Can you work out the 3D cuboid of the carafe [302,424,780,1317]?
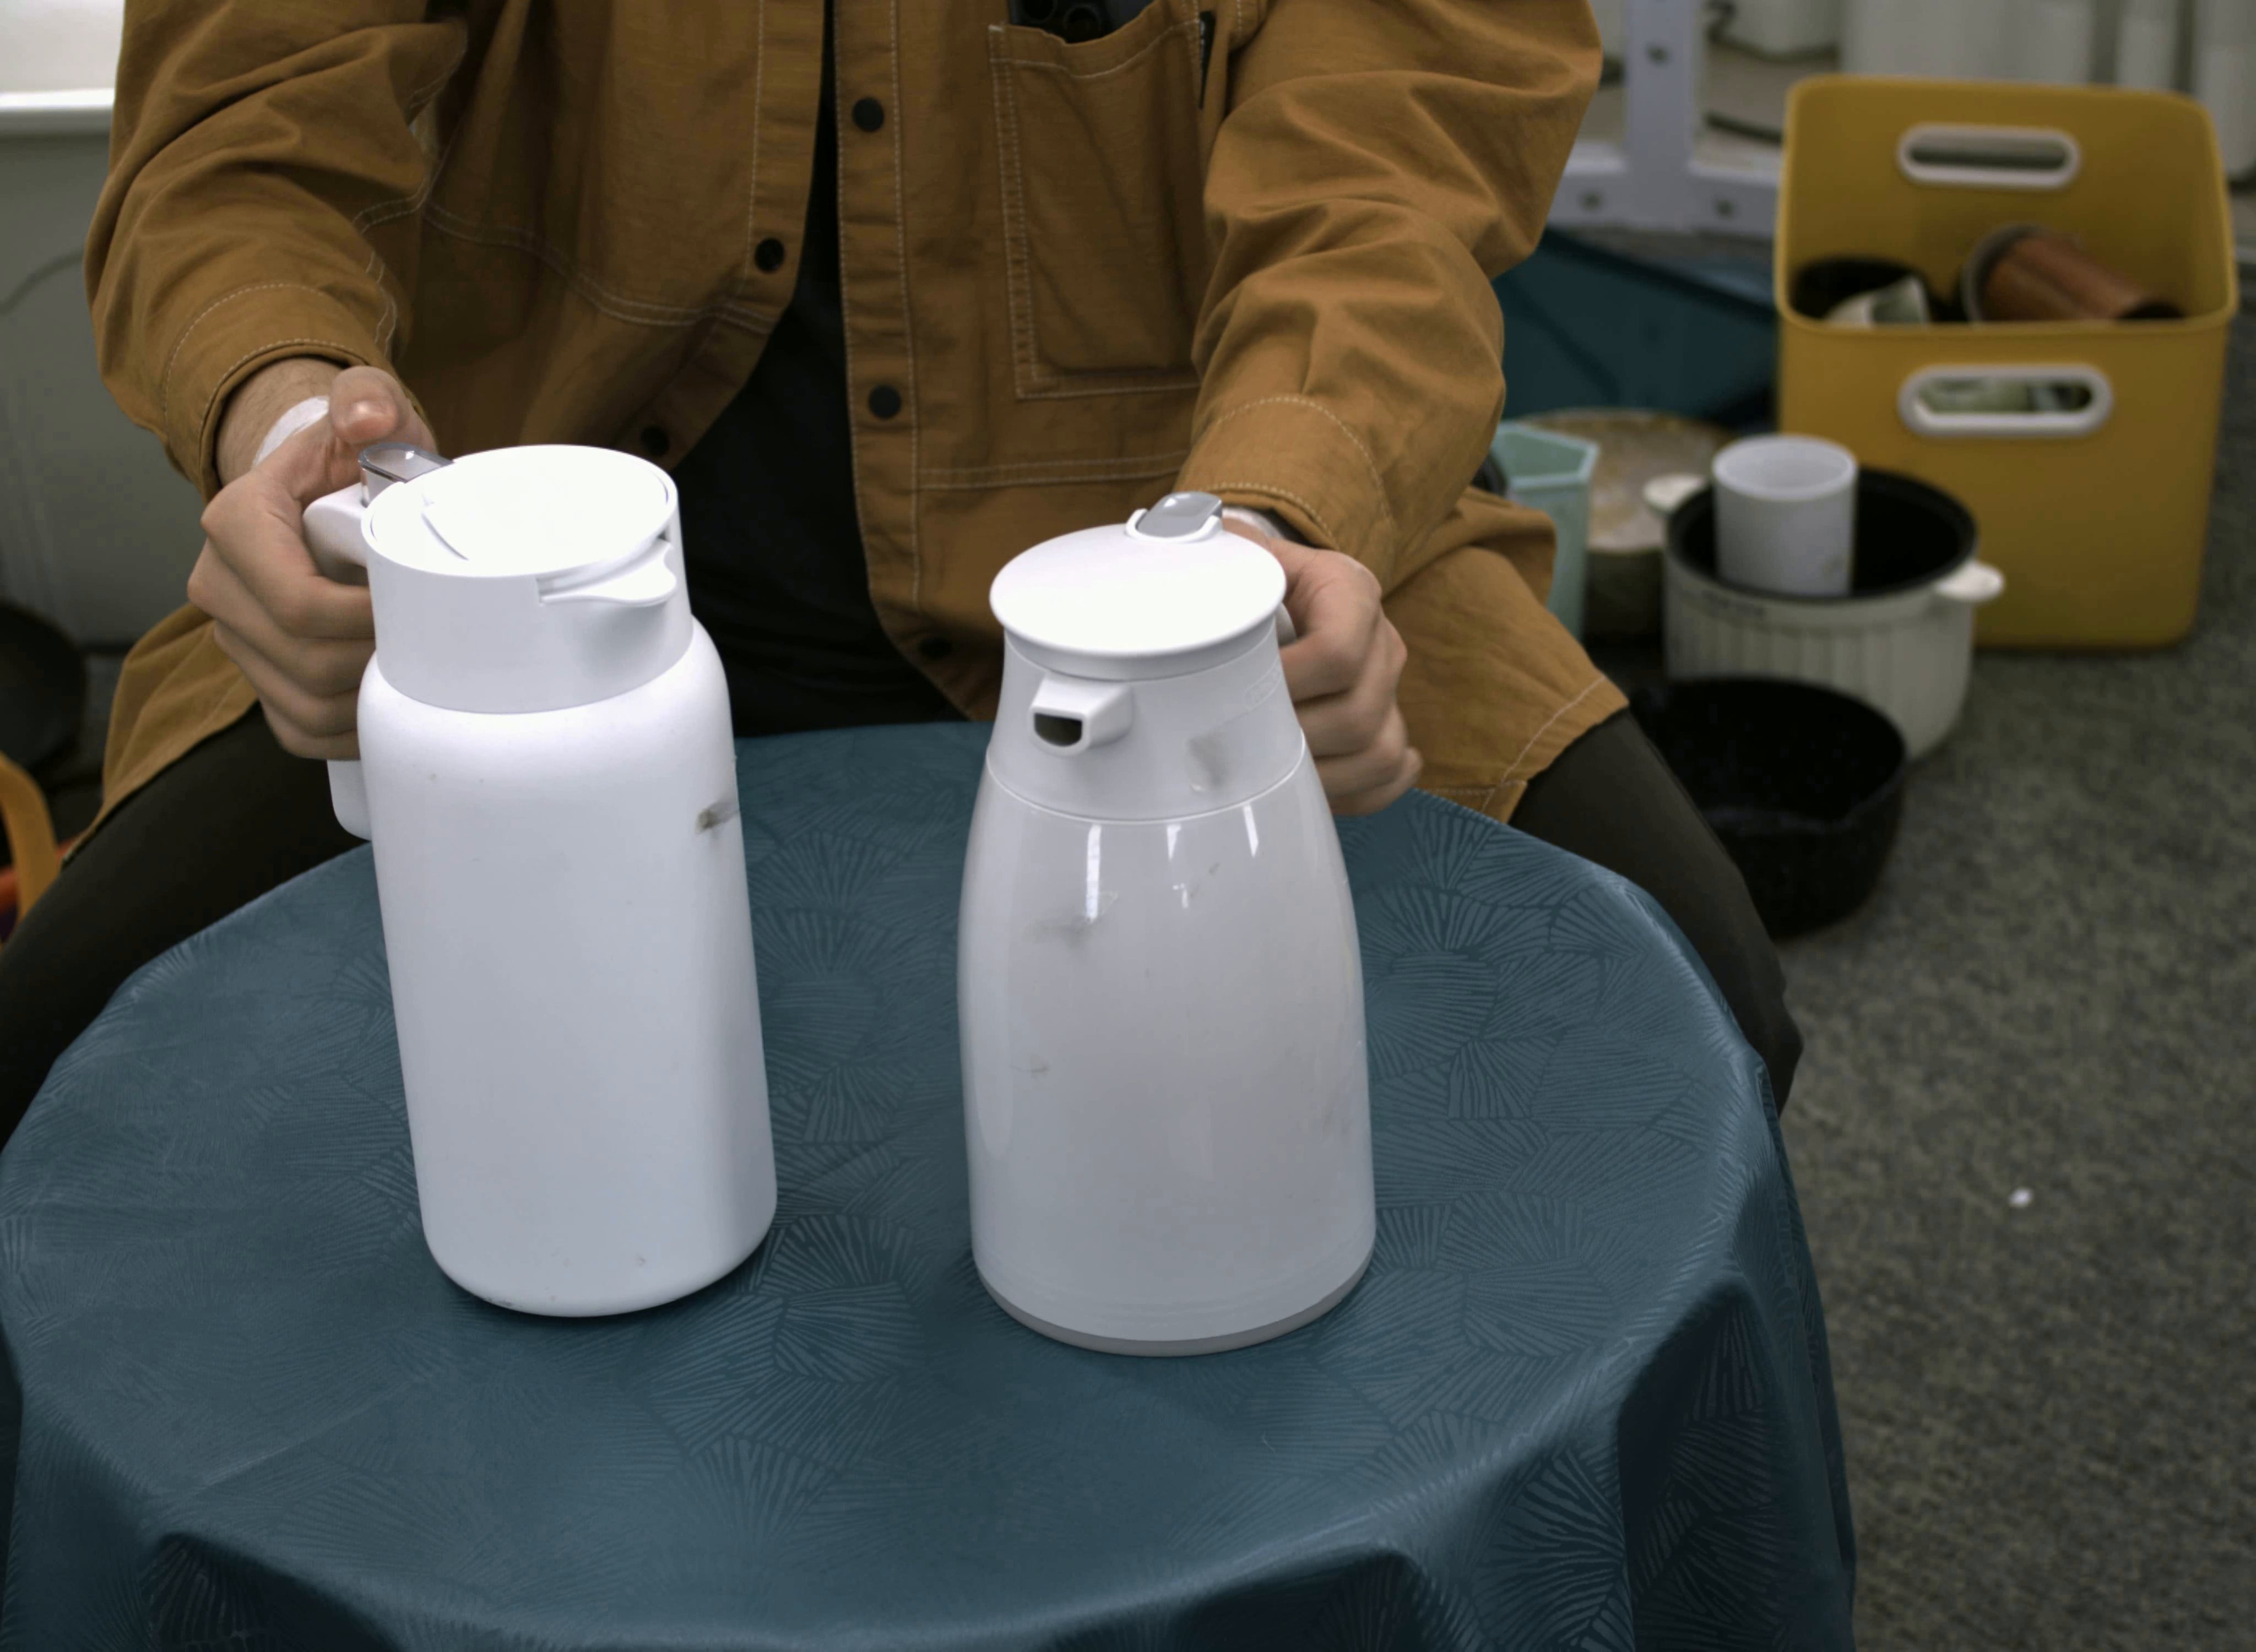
[{"bbox_3d":[-0.192,0.012,1.800,0.125,0.266,0.172,-28,34,-37],"label":"carafe"}]

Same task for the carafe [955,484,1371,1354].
[{"bbox_3d":[0.015,0.019,1.790,0.131,0.246,0.170,8,27,21],"label":"carafe"}]
